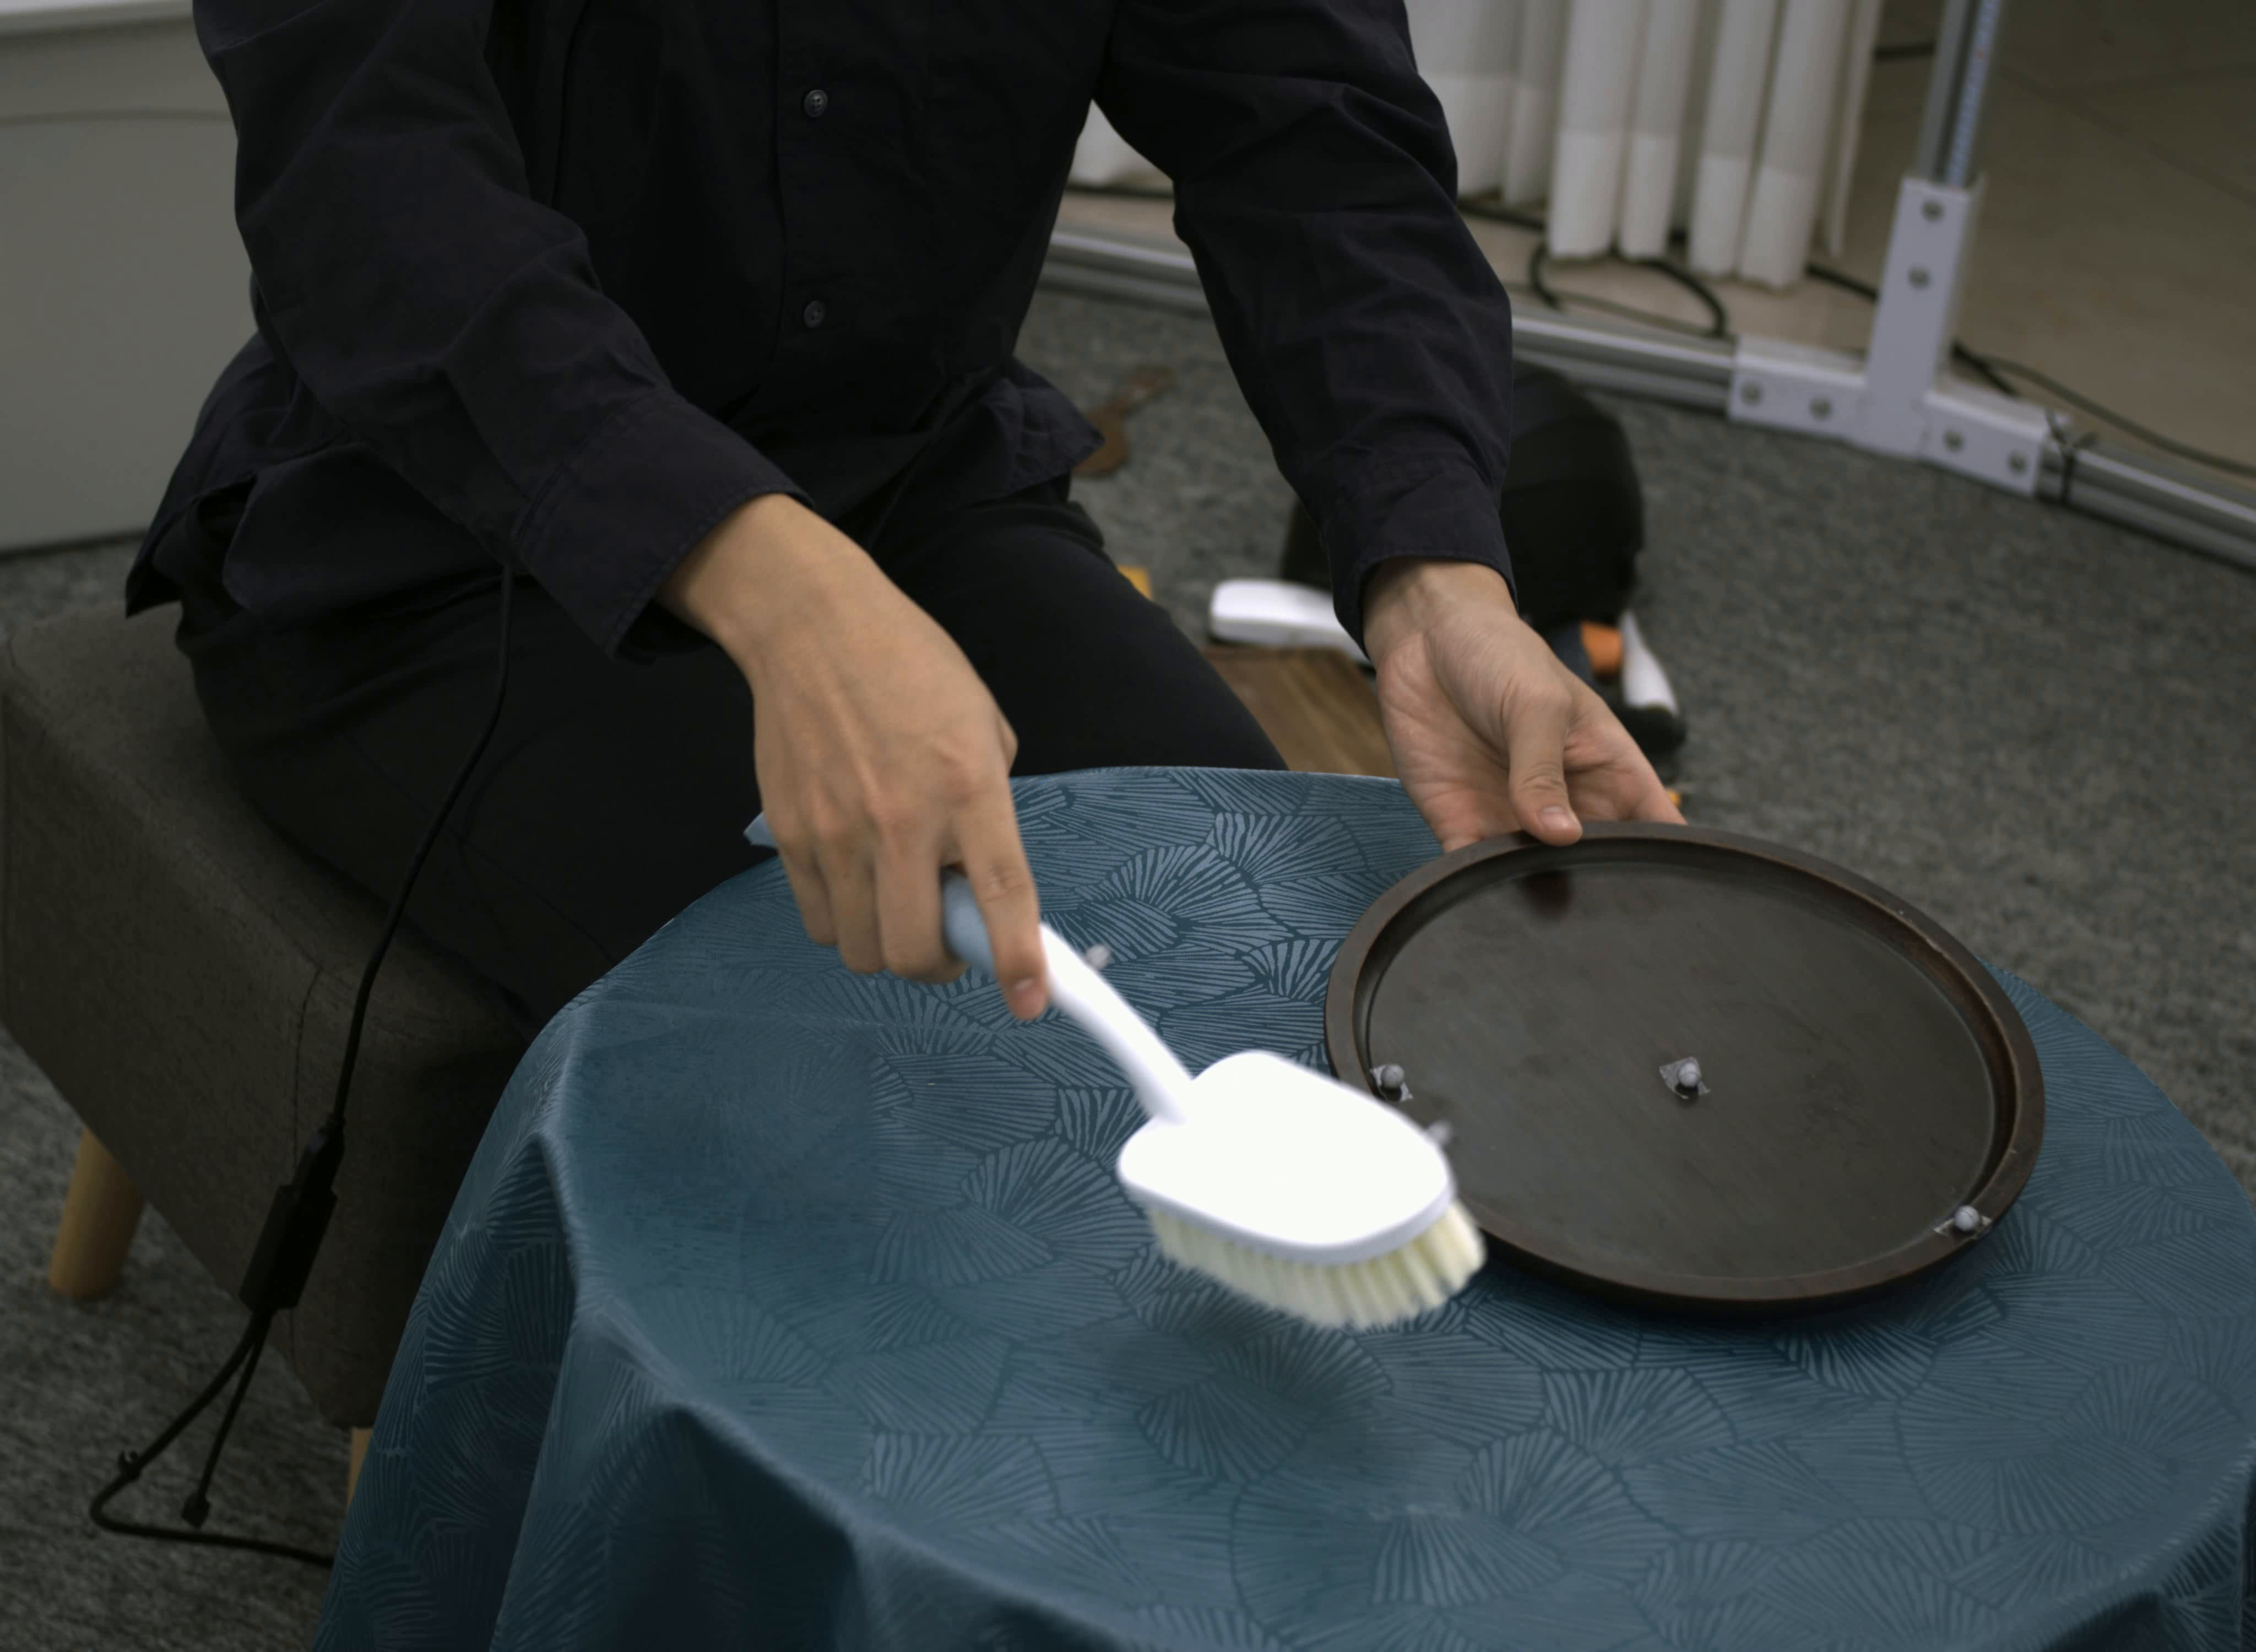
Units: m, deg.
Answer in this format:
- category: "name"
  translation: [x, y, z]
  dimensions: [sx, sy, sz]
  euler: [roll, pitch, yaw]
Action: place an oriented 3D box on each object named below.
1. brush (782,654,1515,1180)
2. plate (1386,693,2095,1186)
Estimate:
- category: "brush"
  translation: [0.006, 0.034, 1.778]
  dimensions: [0.328, 0.084, 0.082]
  euler: [30, 23, 37]
- category: "plate"
  translation: [0.215, 0.039, 1.882]
  dimensions: [0.254, 0.029, 0.257]
  euler: [2, 39, -2]
